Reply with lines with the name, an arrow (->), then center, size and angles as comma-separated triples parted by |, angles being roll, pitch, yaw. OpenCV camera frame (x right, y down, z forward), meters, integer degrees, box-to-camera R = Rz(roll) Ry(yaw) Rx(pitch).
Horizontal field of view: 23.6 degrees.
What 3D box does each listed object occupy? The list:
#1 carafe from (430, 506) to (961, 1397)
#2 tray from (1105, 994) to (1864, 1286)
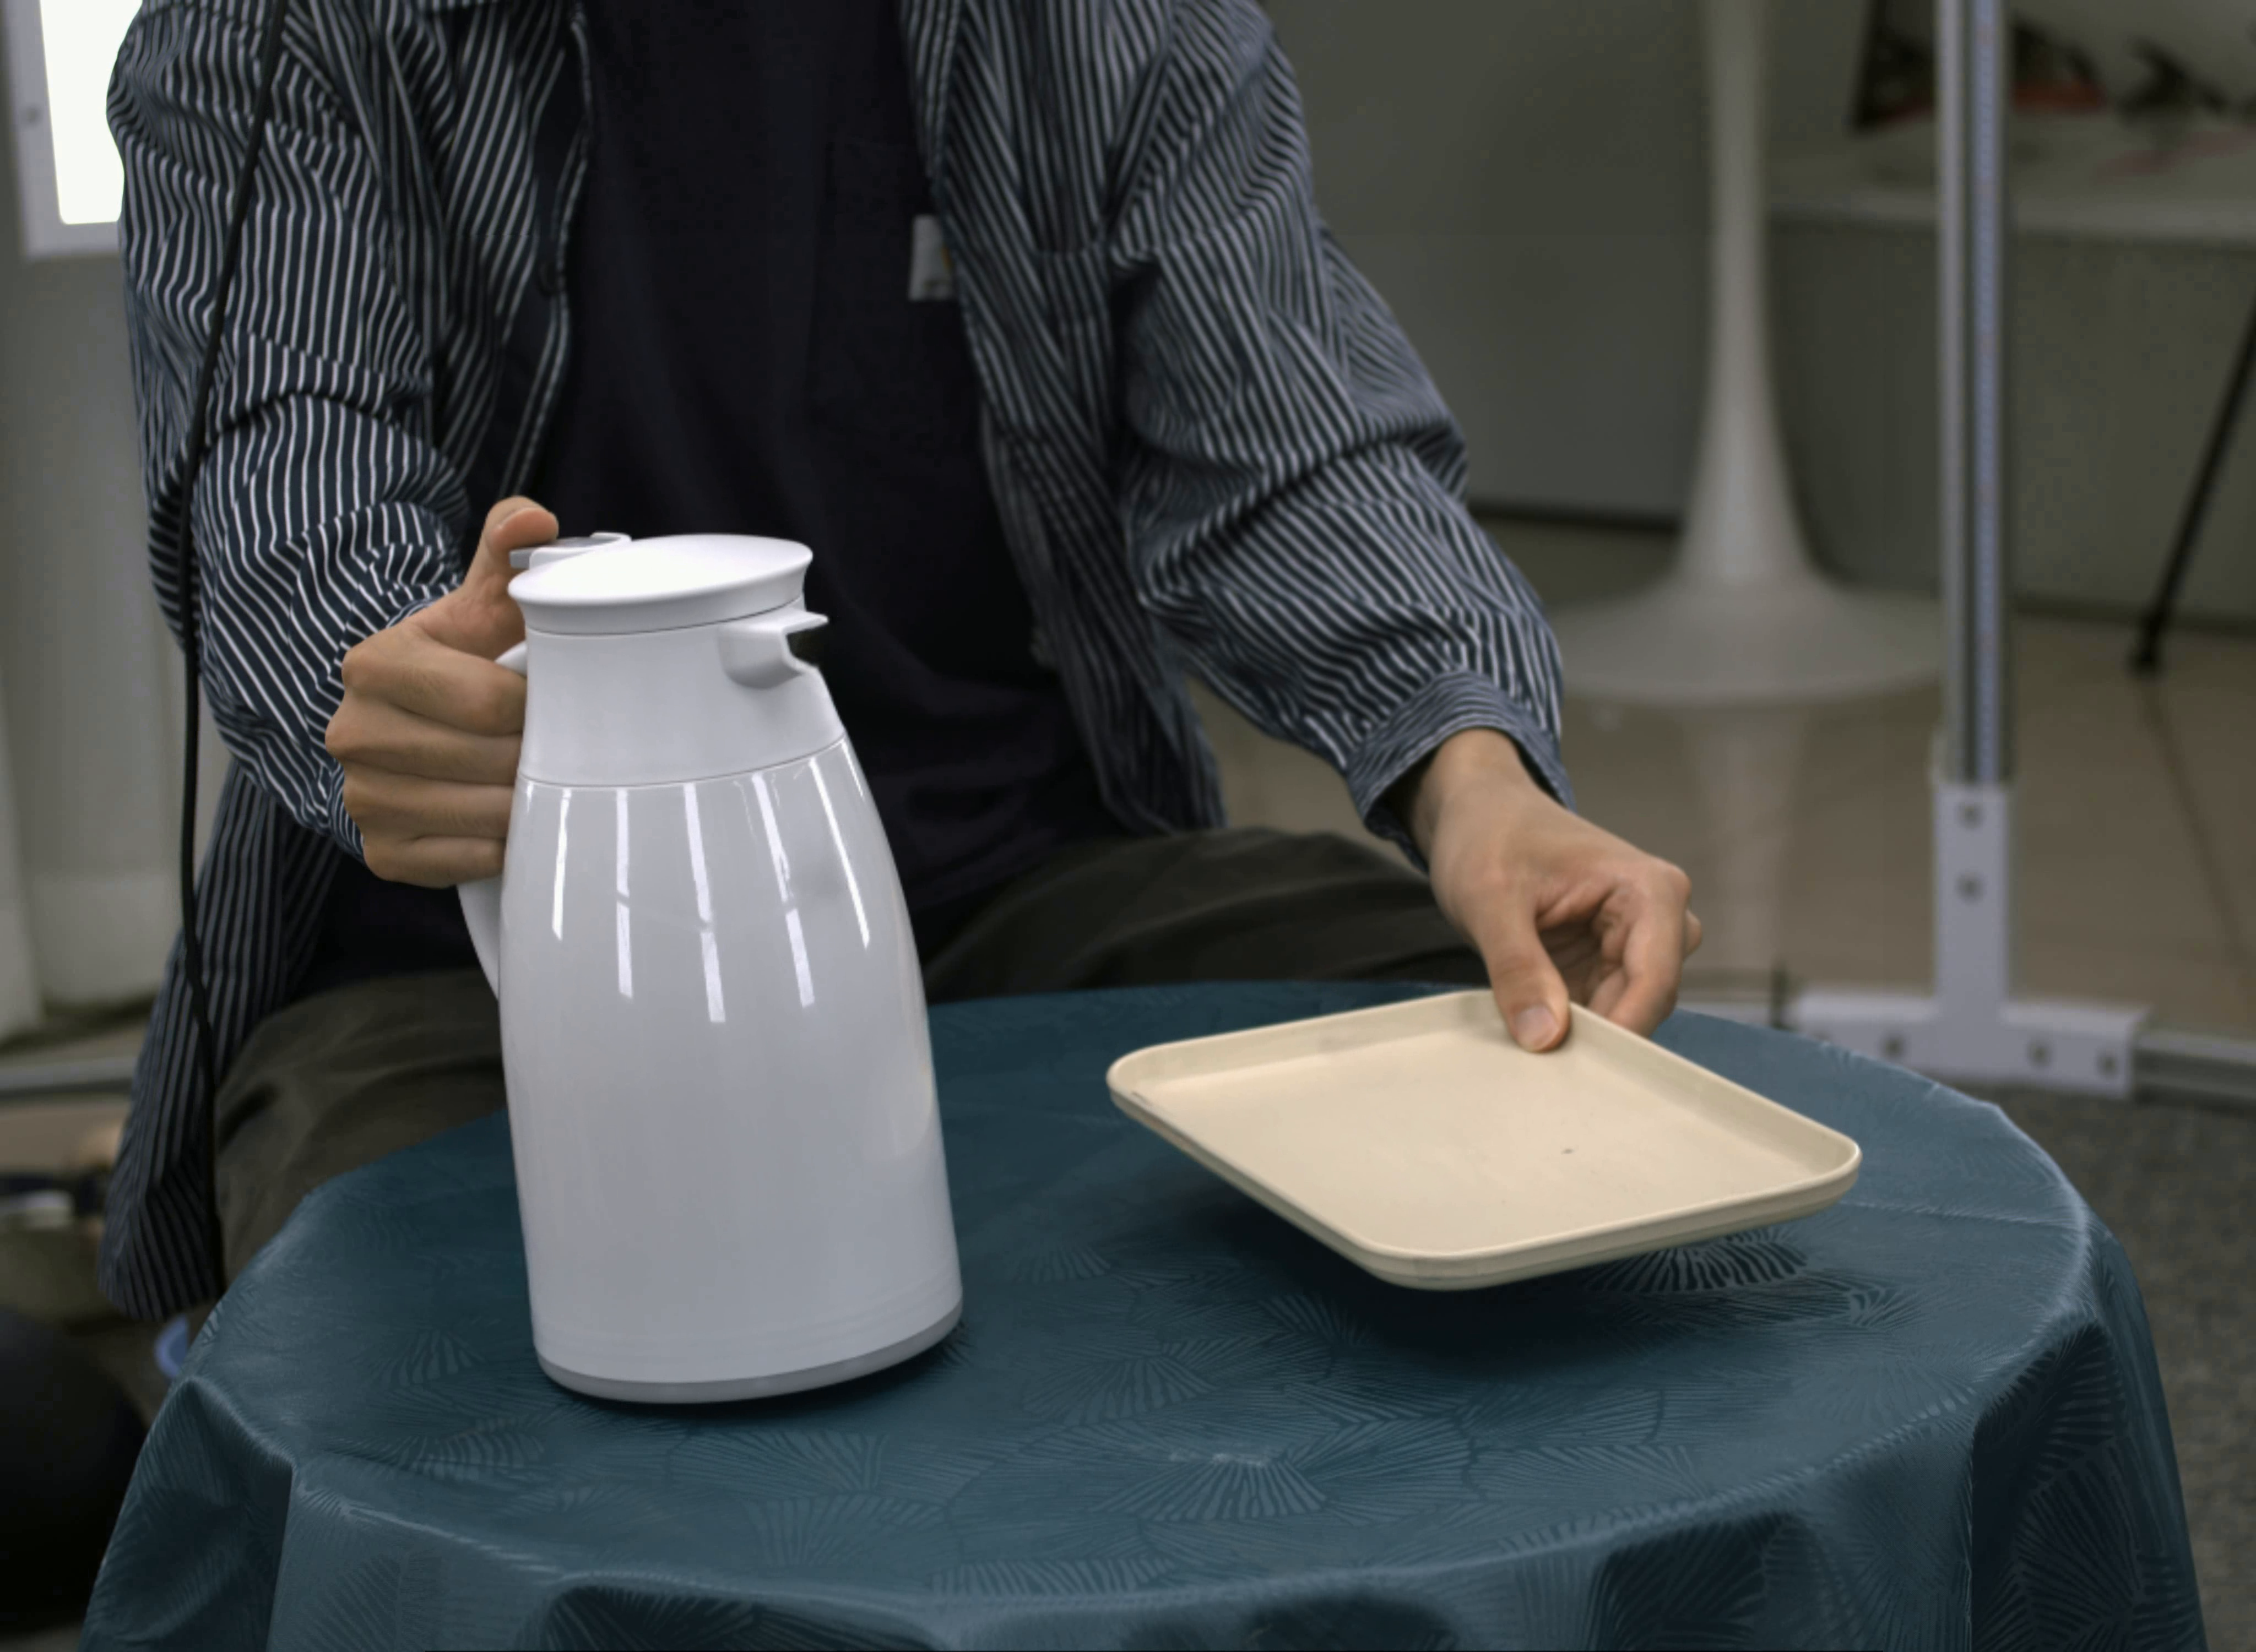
carafe -> -0.143, 0.030, 1.629 | 0.169, 0.251, 0.130 | 2, 15, 40
tray -> 0.108, 0.097, 1.683 | 0.167, 0.017, 0.242 | -9, 15, -22
